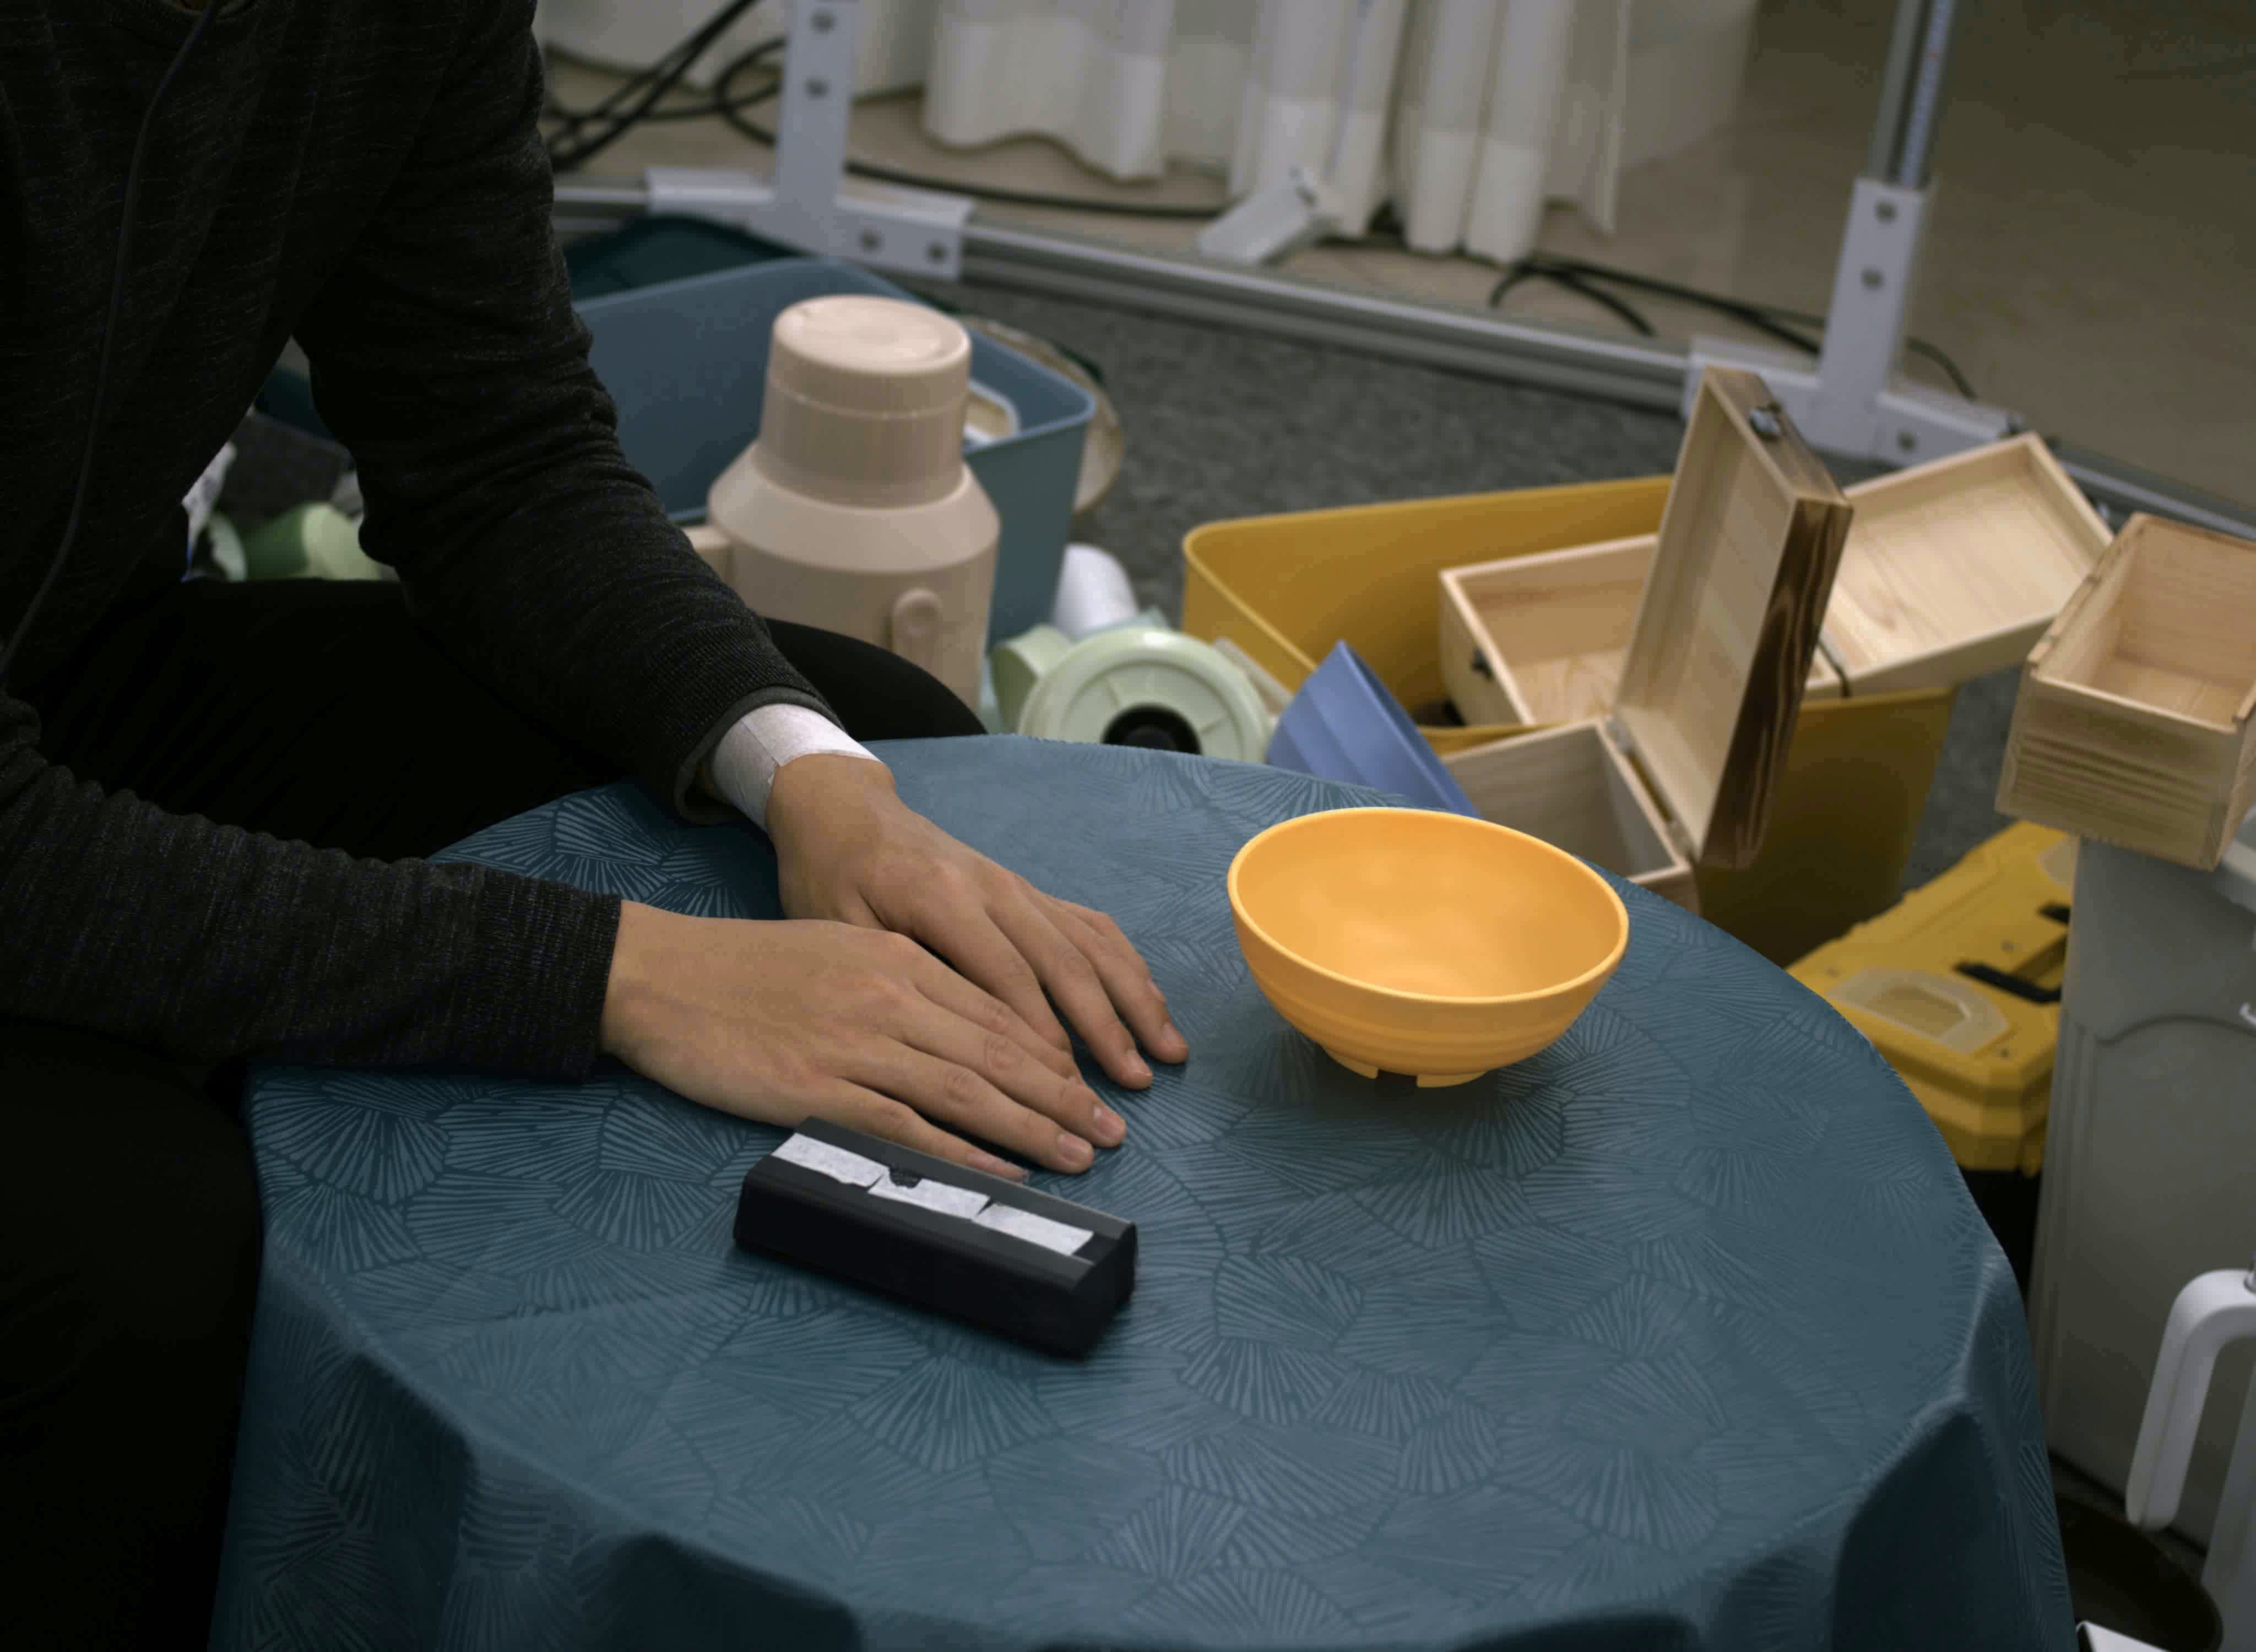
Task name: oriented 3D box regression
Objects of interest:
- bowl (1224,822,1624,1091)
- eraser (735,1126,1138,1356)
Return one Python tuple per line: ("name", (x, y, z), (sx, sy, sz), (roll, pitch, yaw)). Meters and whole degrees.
("bowl", (0.102, 0.054, 1.899), (0.145, 0.060, 0.146), (4, 24, -2))
("eraser", (-0.062, 0.134, 1.735), (0.126, 0.030, 0.053), (16, 25, 19))
